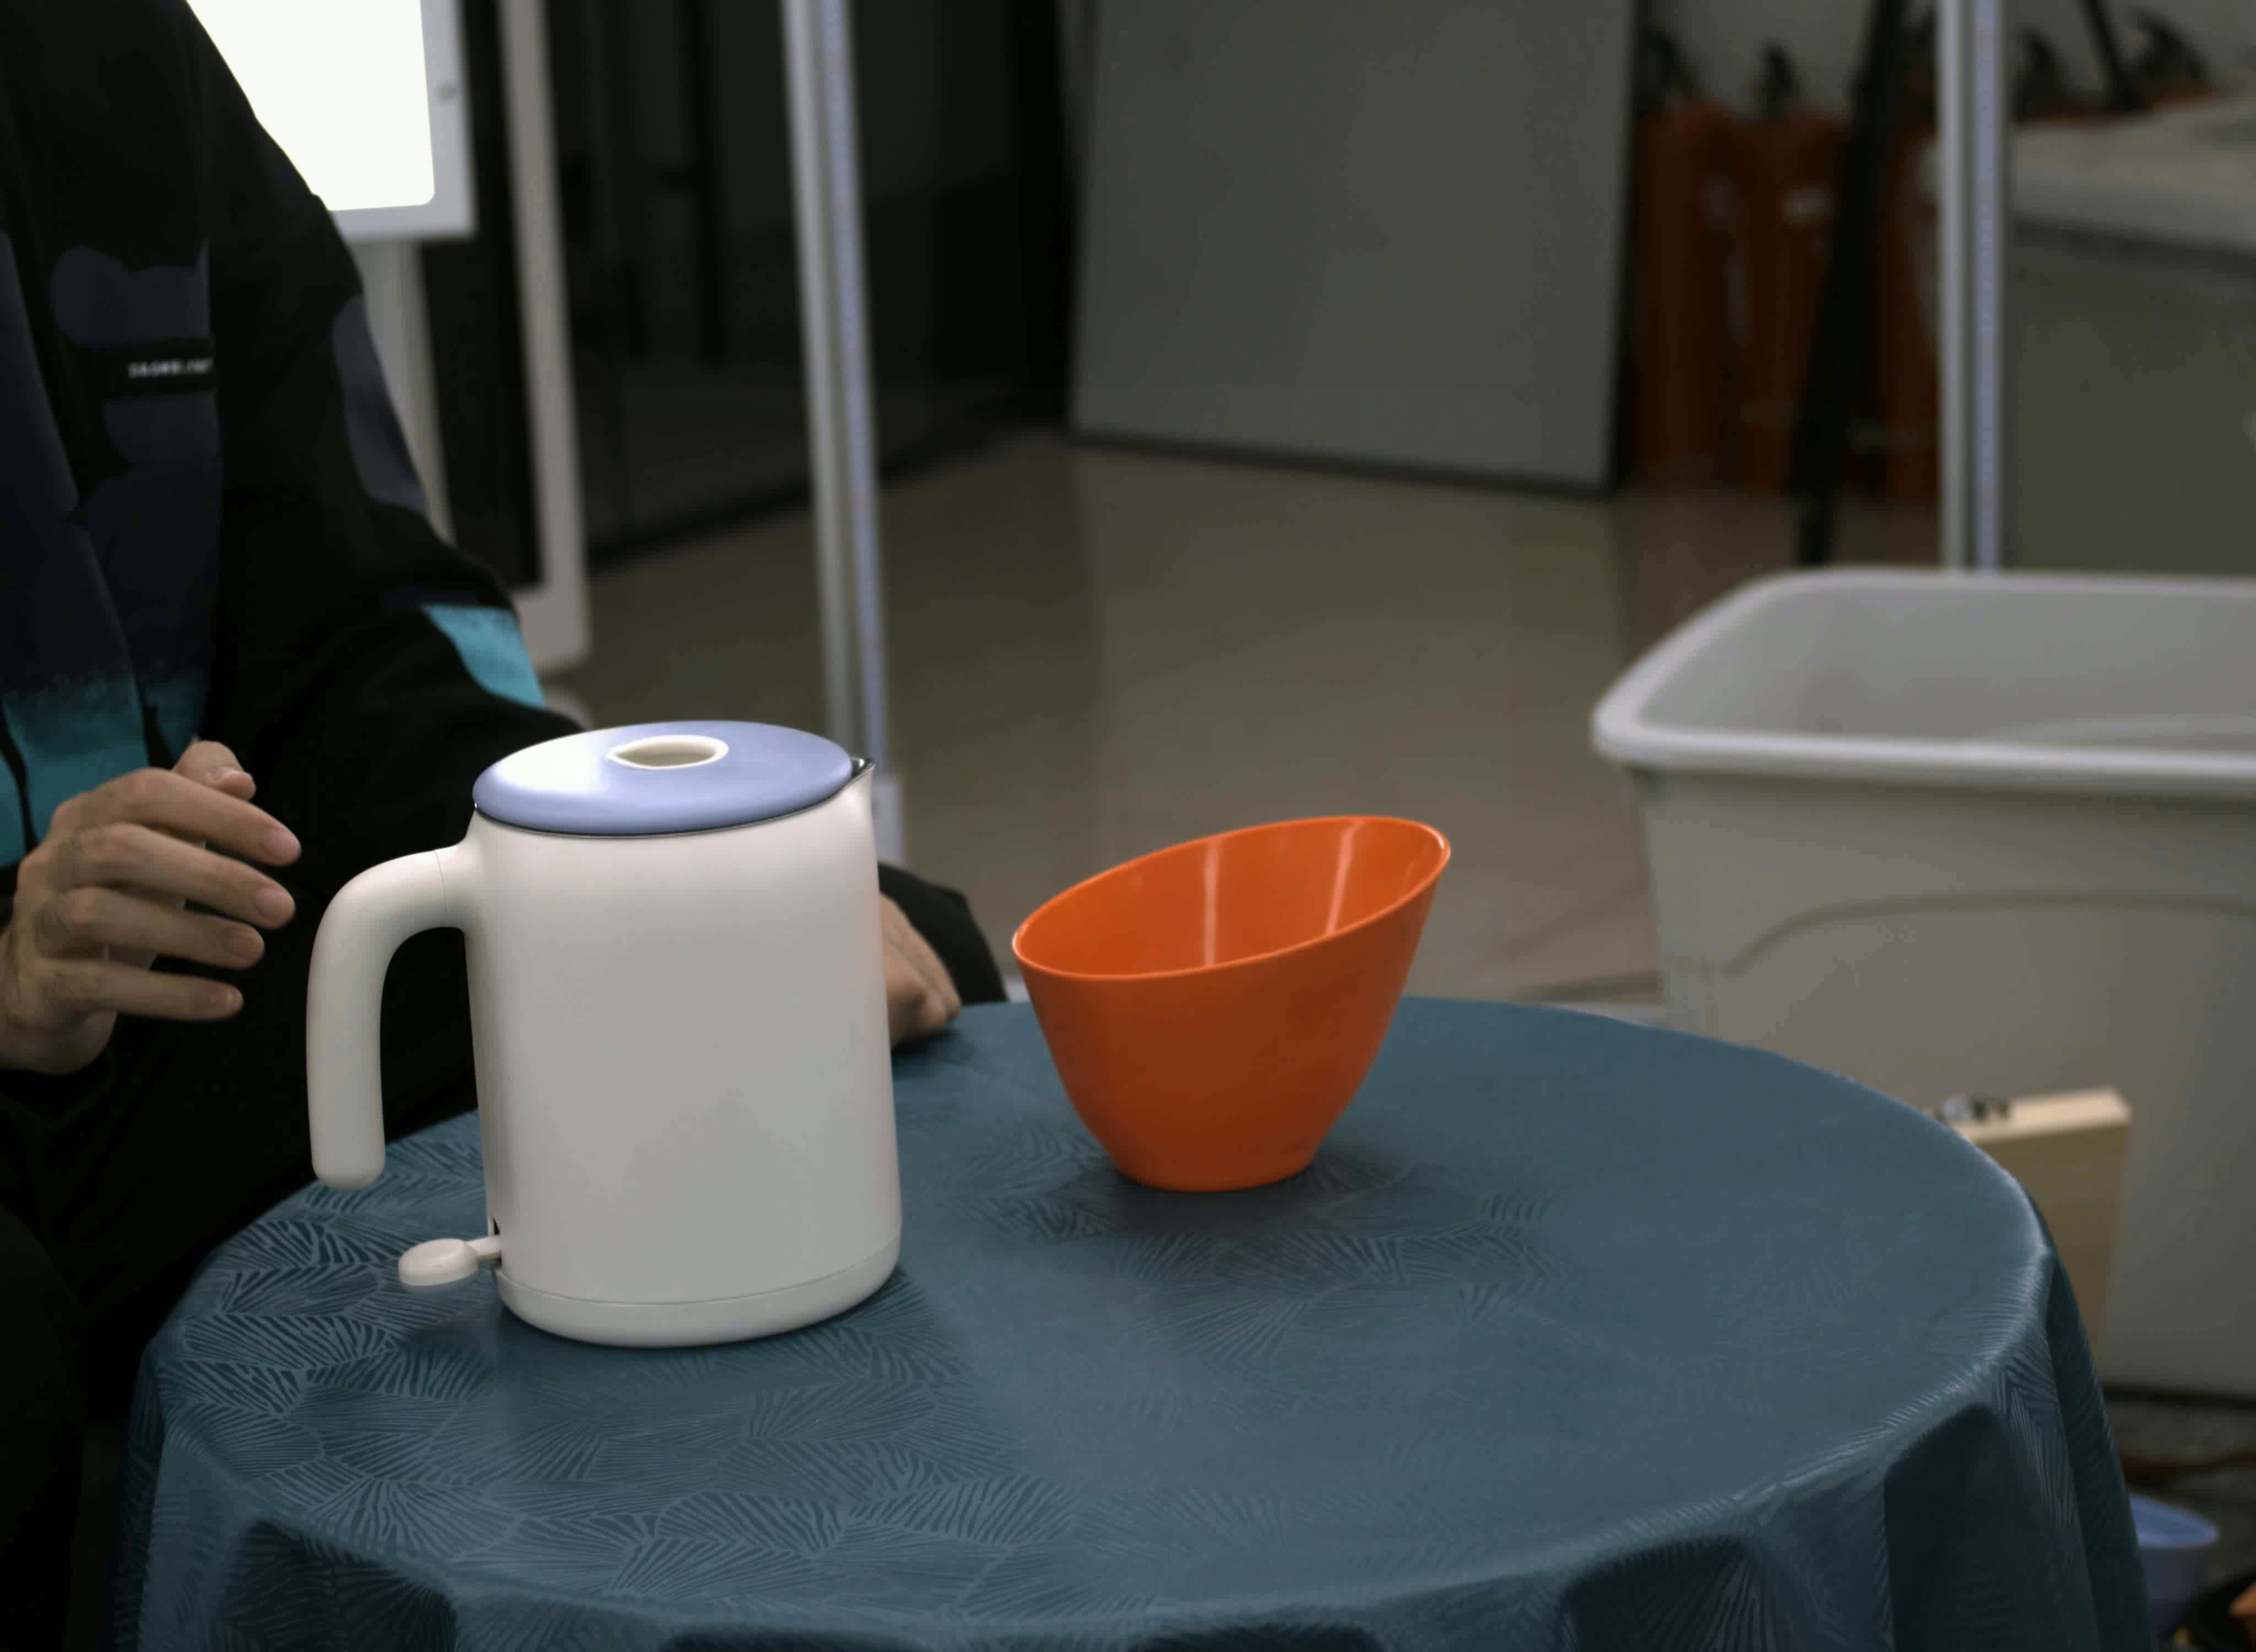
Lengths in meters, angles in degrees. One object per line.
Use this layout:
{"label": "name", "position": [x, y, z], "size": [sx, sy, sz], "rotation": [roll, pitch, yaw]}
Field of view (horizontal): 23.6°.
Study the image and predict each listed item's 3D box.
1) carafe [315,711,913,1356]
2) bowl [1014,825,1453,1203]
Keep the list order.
{"label": "carafe", "position": [-0.160, 0.068, 1.678], "size": [0.187, 0.184, 0.133], "rotation": [-11, 14, -18]}
{"label": "bowl", "position": [0.037, 0.064, 1.781], "size": [0.146, 0.106, 0.148], "rotation": [-4, 13, 0]}
